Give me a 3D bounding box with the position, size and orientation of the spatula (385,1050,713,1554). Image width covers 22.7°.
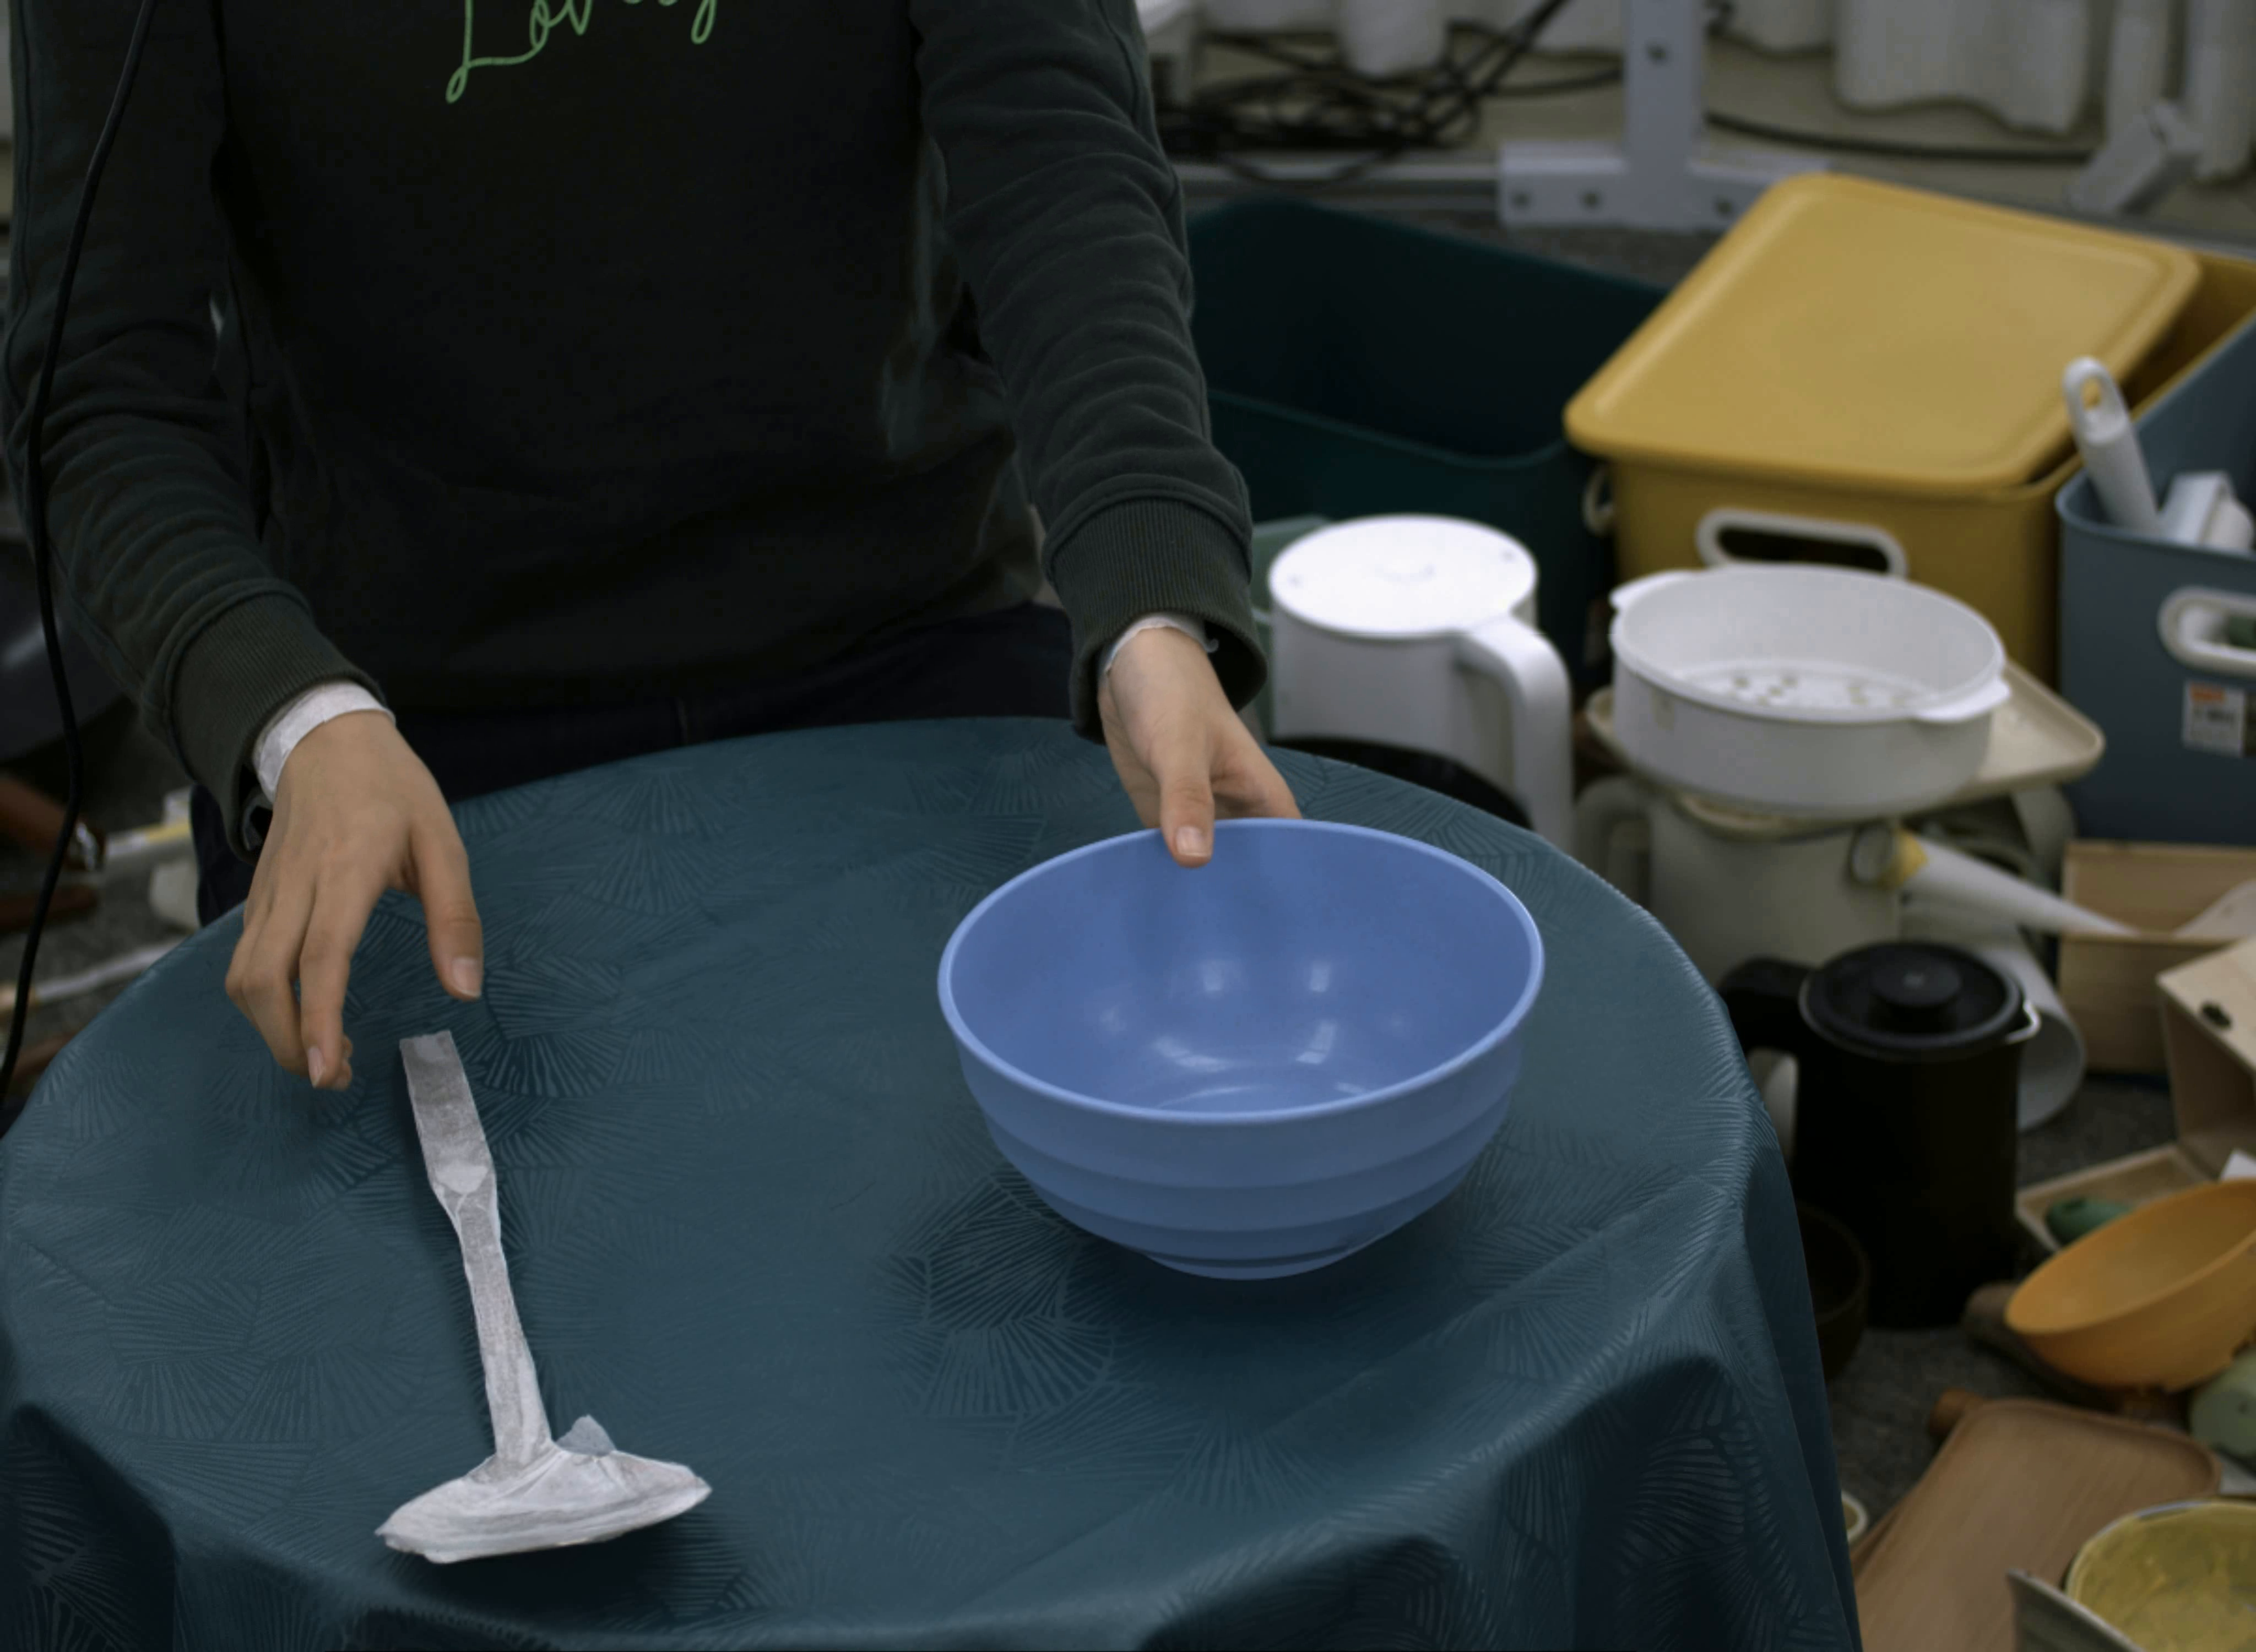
[{"bbox_3d":[-0.201,0.144,1.796,0.098,0.044,0.369,-9,28,-8],"label":"spatula"}]

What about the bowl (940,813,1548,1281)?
[{"bbox_3d":[0.039,0.084,1.828,0.195,0.094,0.199,-2,28,2],"label":"bowl"}]
